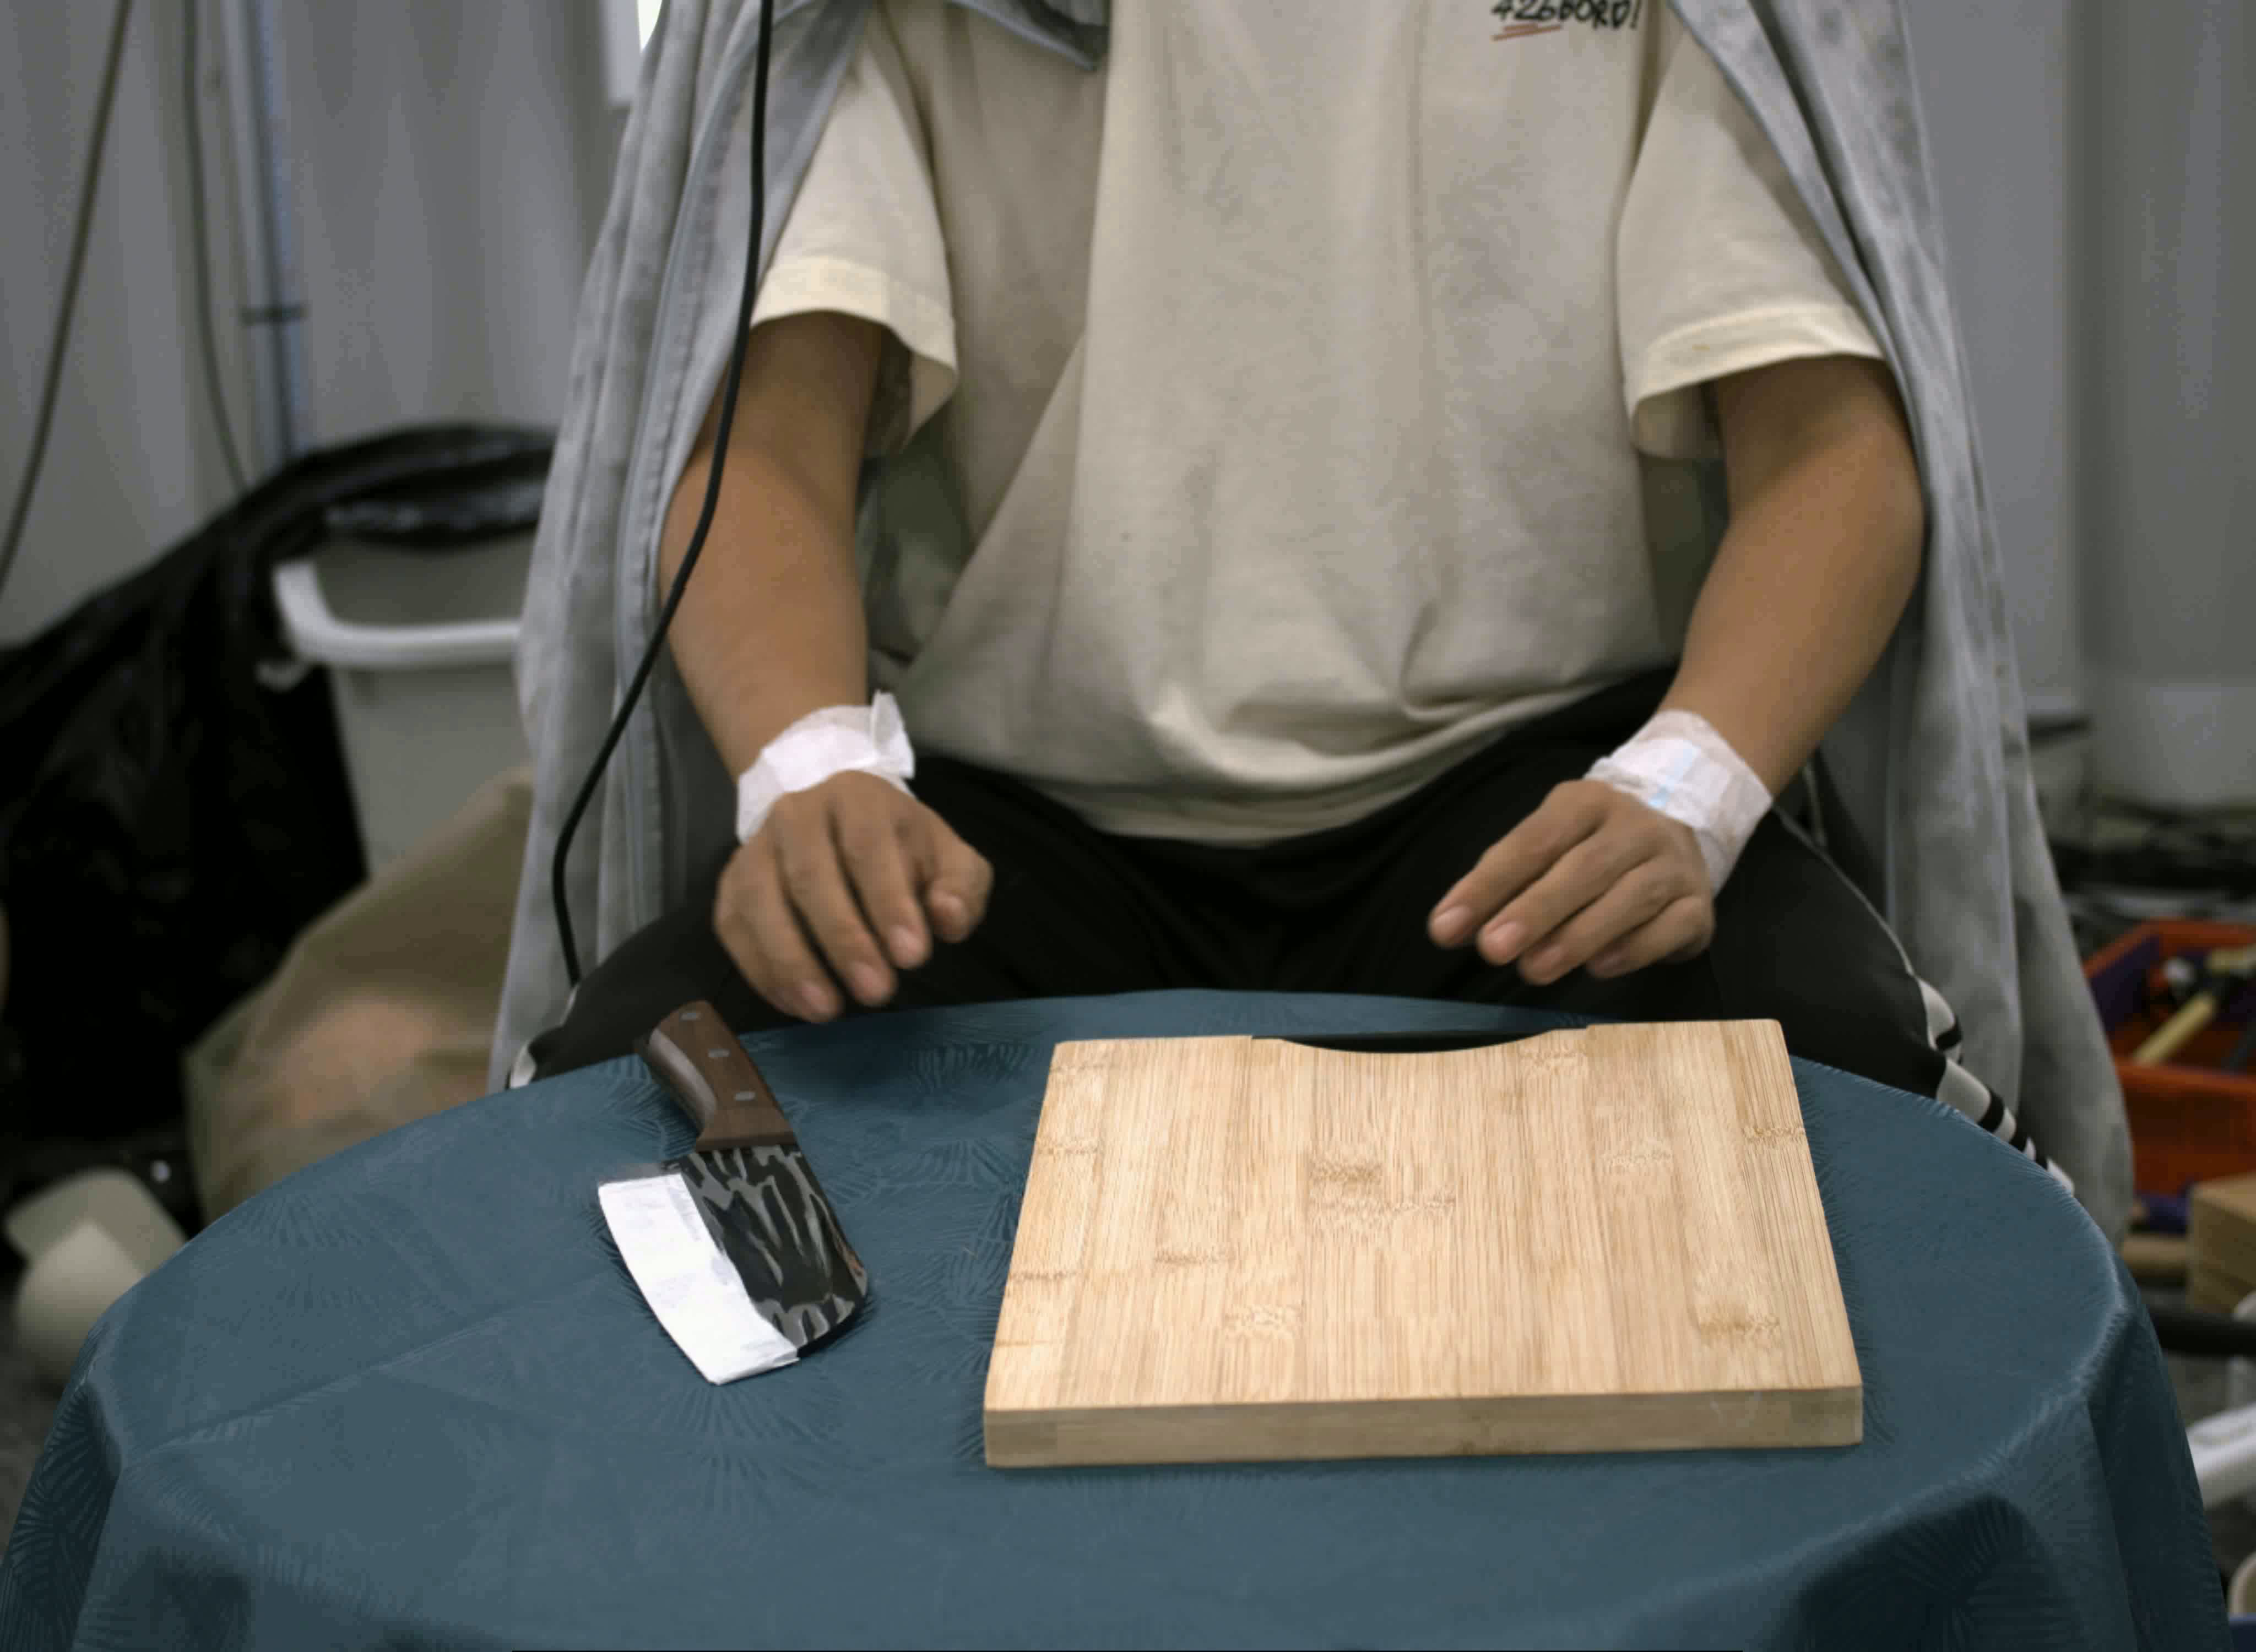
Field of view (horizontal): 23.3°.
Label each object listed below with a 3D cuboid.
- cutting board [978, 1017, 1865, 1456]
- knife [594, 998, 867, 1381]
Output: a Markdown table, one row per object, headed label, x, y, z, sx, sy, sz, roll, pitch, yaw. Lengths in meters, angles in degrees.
| label | x | y | z | sx | sy | sz | roll | pitch | yaw |
| --- | --- | --- | --- | --- | --- | --- | --- | --- | --- |
| cutting board | 0.088 | 0.120 | 1.654 | 0.250 | 0.023 | 0.351 | -2 | 15 | 2 |
| knife | -0.131 | 0.113 | 1.713 | 0.068 | 0.024 | 0.302 | -8 | 18 | -11 |
